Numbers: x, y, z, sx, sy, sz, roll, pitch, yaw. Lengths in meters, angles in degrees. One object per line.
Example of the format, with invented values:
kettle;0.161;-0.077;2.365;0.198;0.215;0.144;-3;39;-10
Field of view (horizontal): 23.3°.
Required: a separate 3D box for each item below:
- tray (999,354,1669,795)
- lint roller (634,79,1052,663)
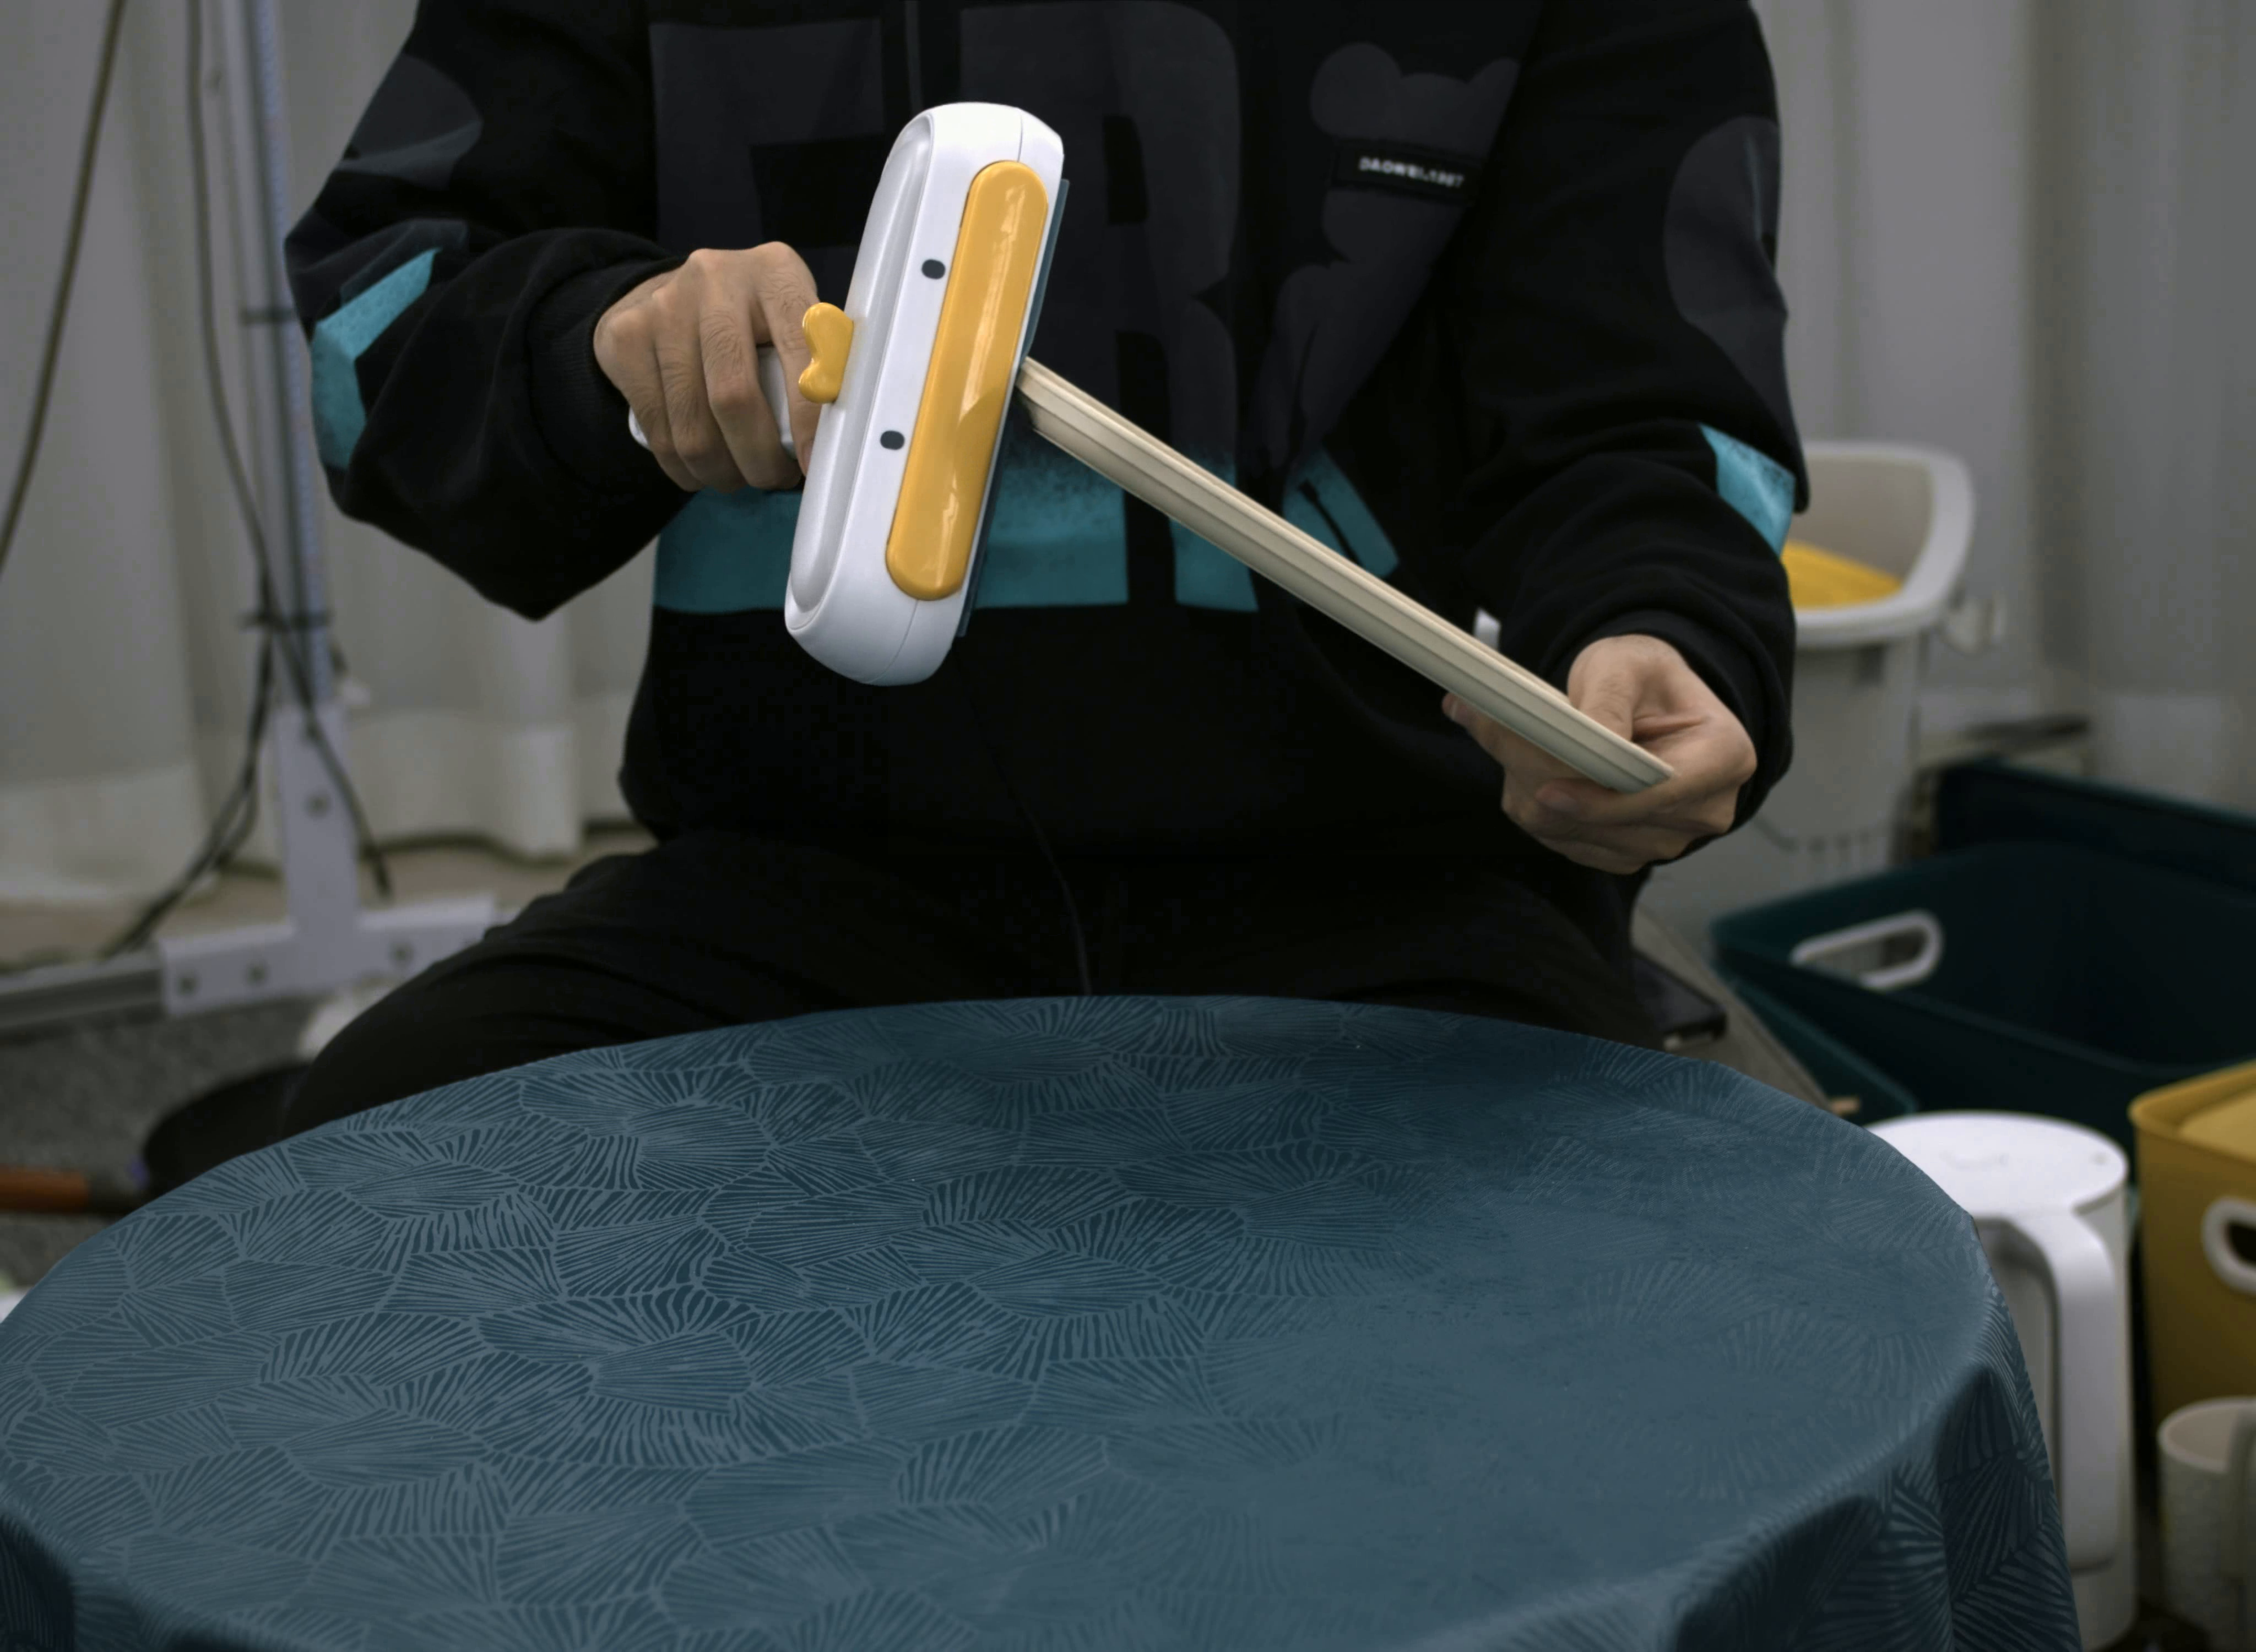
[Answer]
tray;0.062;-0.081;1.784;0.238;0.017;0.172;32;3;-11
lint roller;-0.099;-0.143;1.818;0.073;0.194;0.192;13;-13;-27
